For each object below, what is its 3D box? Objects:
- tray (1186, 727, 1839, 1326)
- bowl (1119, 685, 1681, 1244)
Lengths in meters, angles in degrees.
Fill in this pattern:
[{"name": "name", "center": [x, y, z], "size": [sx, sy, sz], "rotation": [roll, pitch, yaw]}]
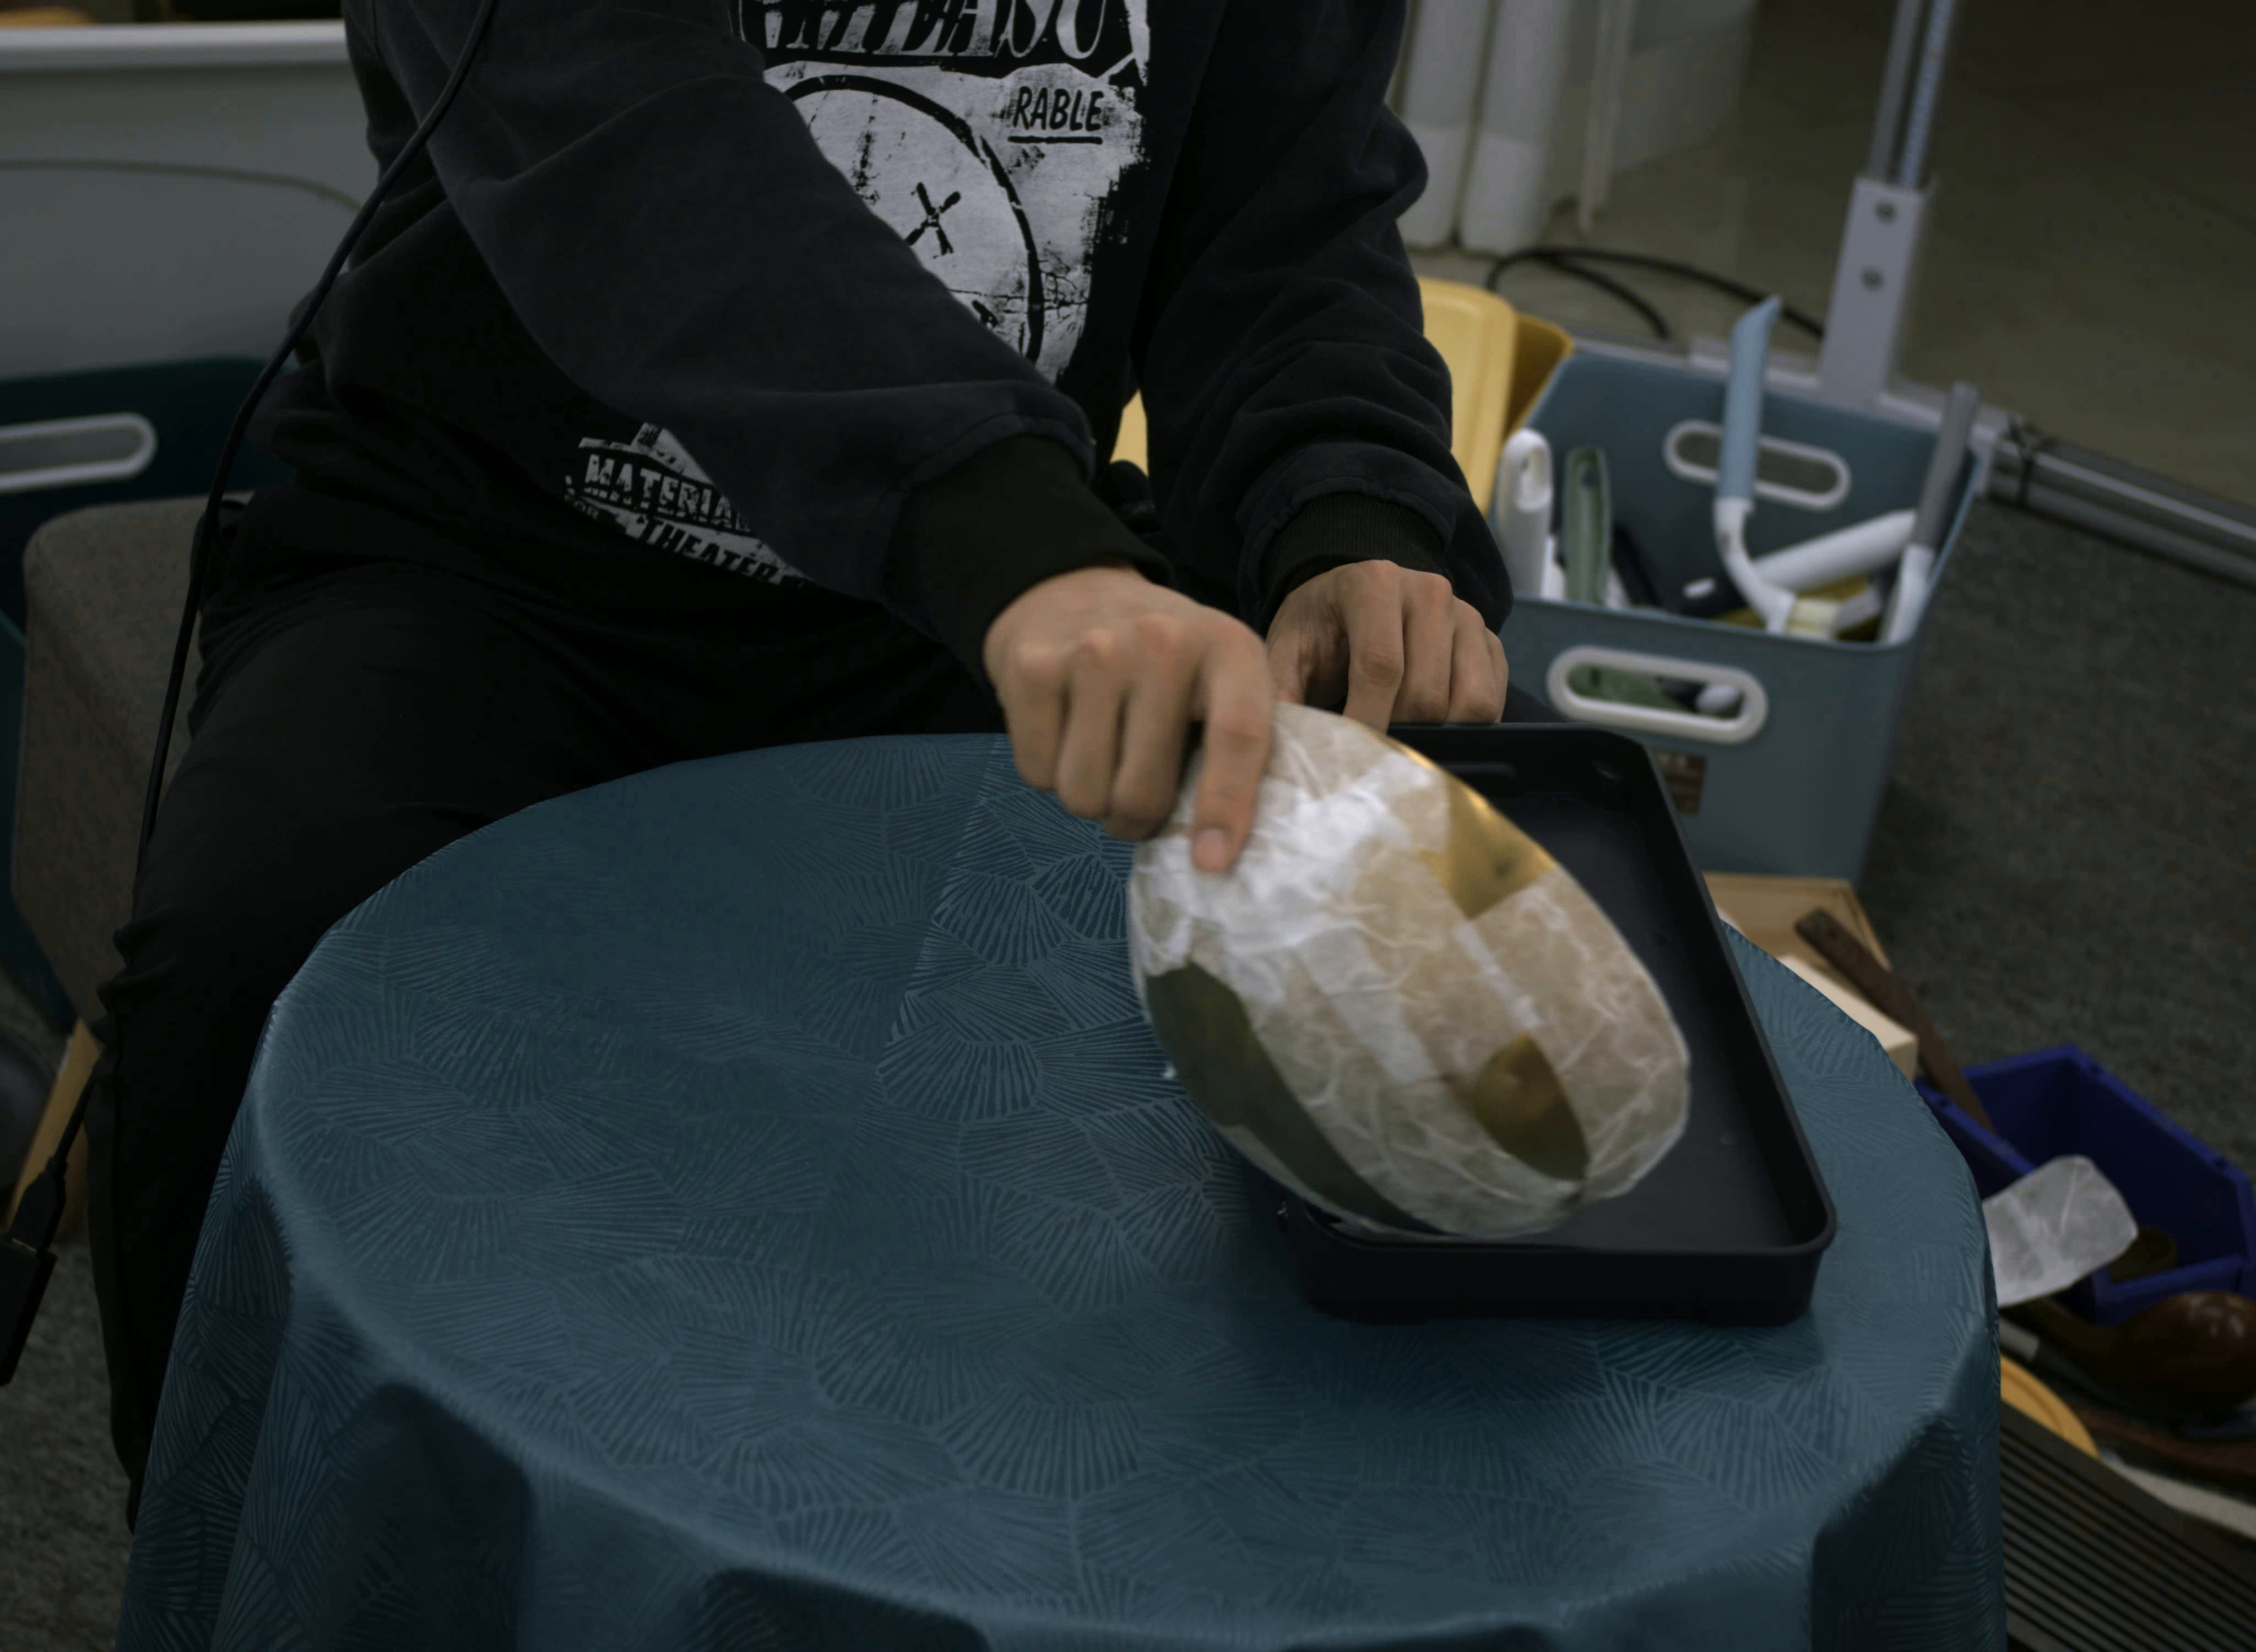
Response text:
[{"name": "tray", "center": [0.127, 0.064, 1.869], "size": [0.183, 0.037, 0.320], "rotation": [0, 33, -8]}, {"name": "bowl", "center": [0.067, 0.063, 1.692], "size": [0.216, 0.213, 0.094], "rotation": [28, 63, 36]}]
